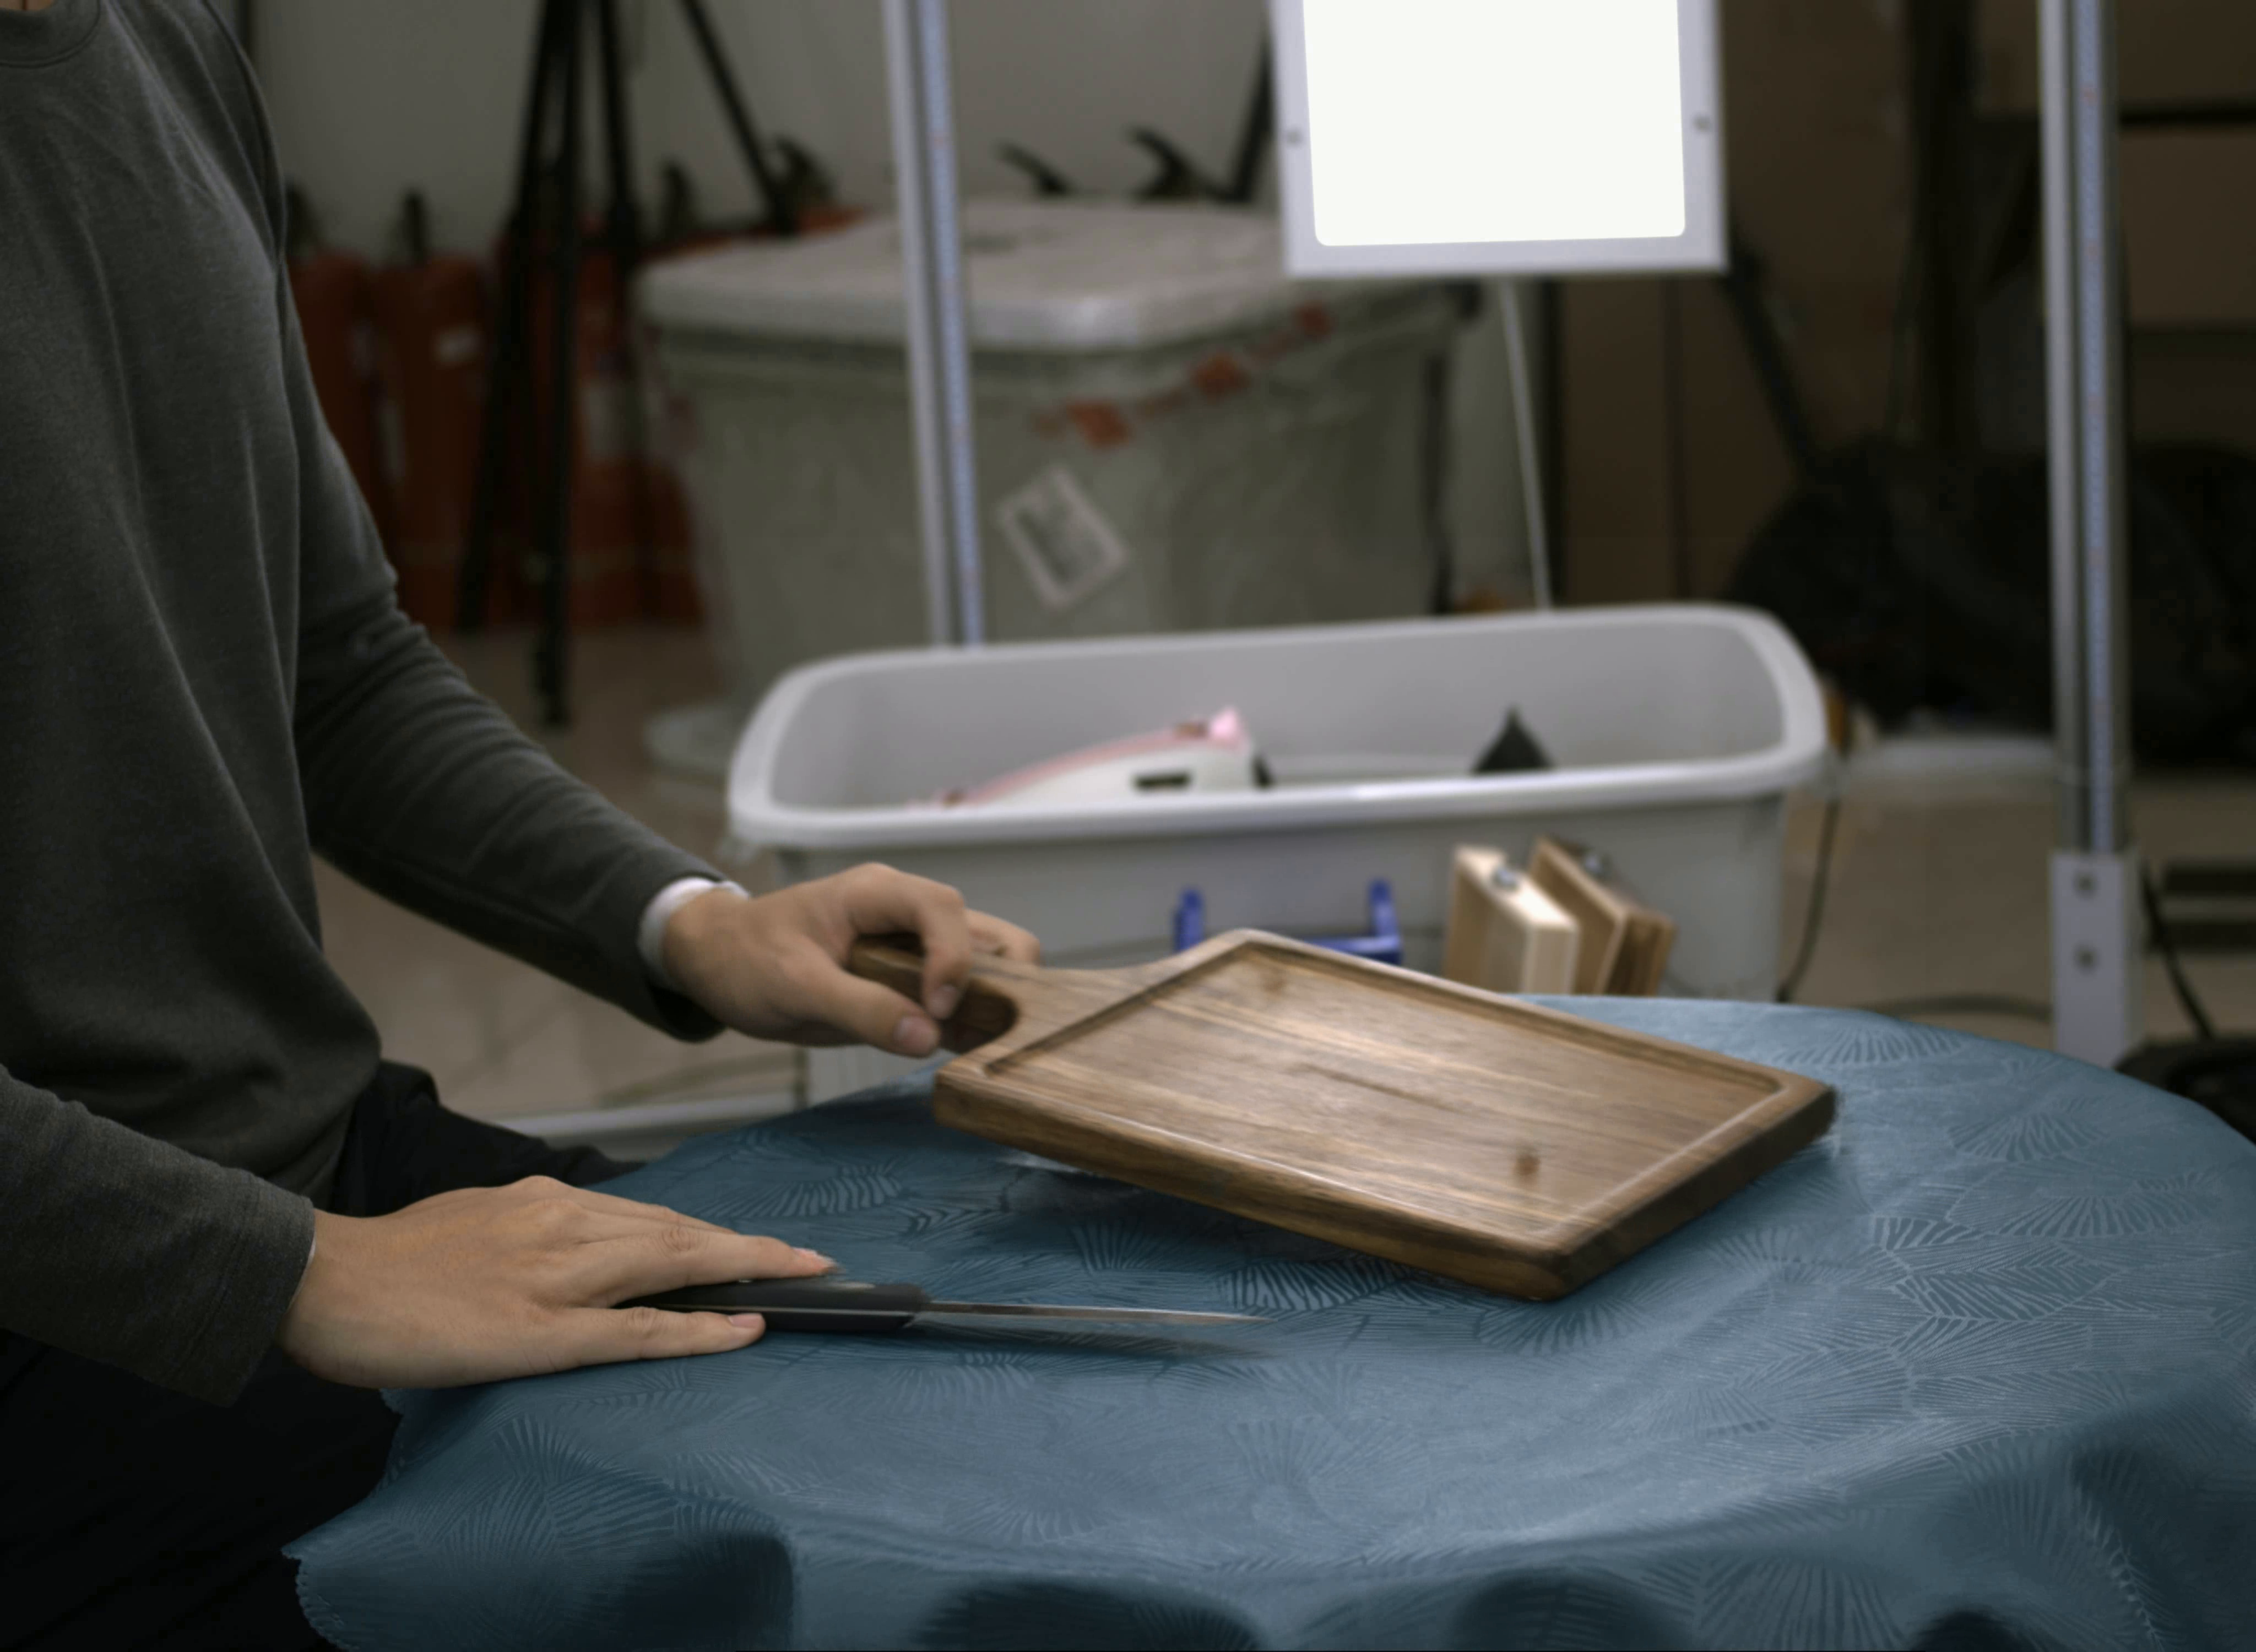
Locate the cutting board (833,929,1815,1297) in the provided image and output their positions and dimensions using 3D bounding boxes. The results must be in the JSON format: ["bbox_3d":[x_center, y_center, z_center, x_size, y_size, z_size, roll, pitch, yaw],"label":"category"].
[{"bbox_3d":[0.043,0.084,1.916,0.359,0.023,0.196,14,22,33],"label":"cutting board"}]

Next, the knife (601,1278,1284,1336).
[{"bbox_3d":[-0.063,0.156,1.772,0.241,0.016,0.024,0,9,22],"label":"knife"}]
